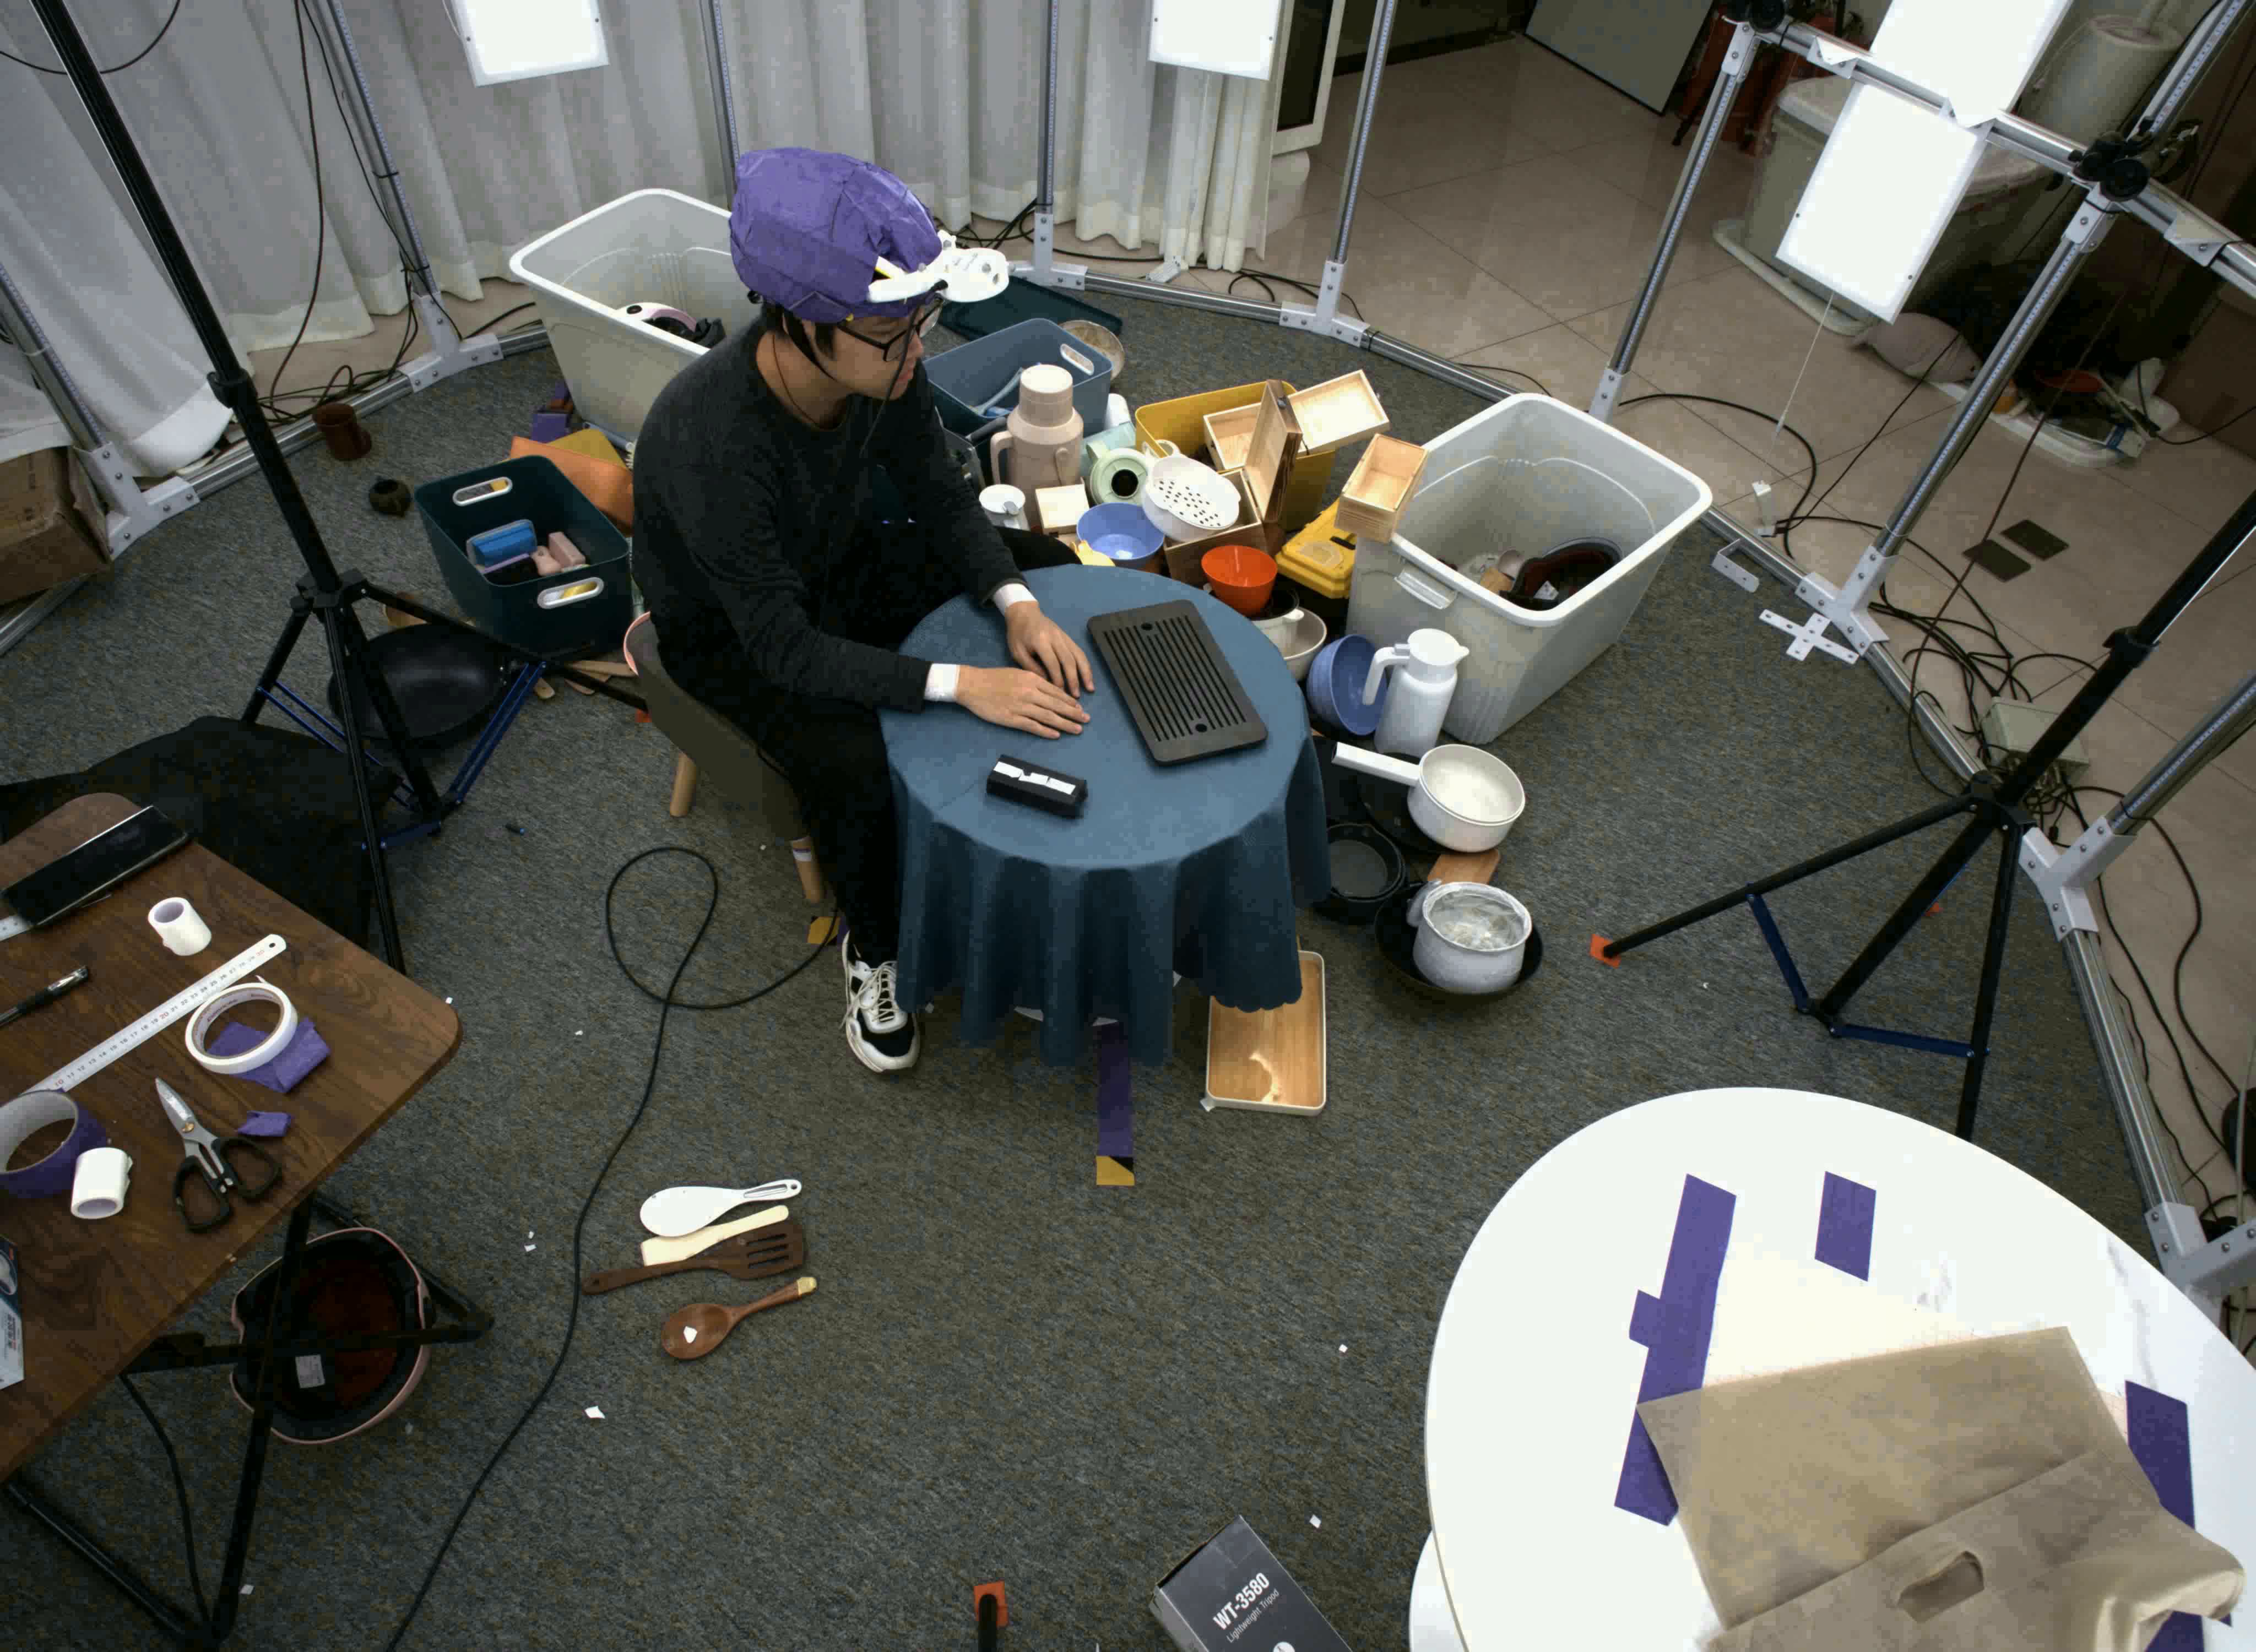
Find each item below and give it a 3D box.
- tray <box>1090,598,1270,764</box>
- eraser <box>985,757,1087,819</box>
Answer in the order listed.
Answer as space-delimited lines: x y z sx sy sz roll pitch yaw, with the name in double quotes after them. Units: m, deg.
0.070 -0.213 1.847 0.170 0.018 0.313 -13 51 -14 "tray"
-0.120 -0.051 1.688 0.126 0.030 0.054 17 48 12 "eraser"
